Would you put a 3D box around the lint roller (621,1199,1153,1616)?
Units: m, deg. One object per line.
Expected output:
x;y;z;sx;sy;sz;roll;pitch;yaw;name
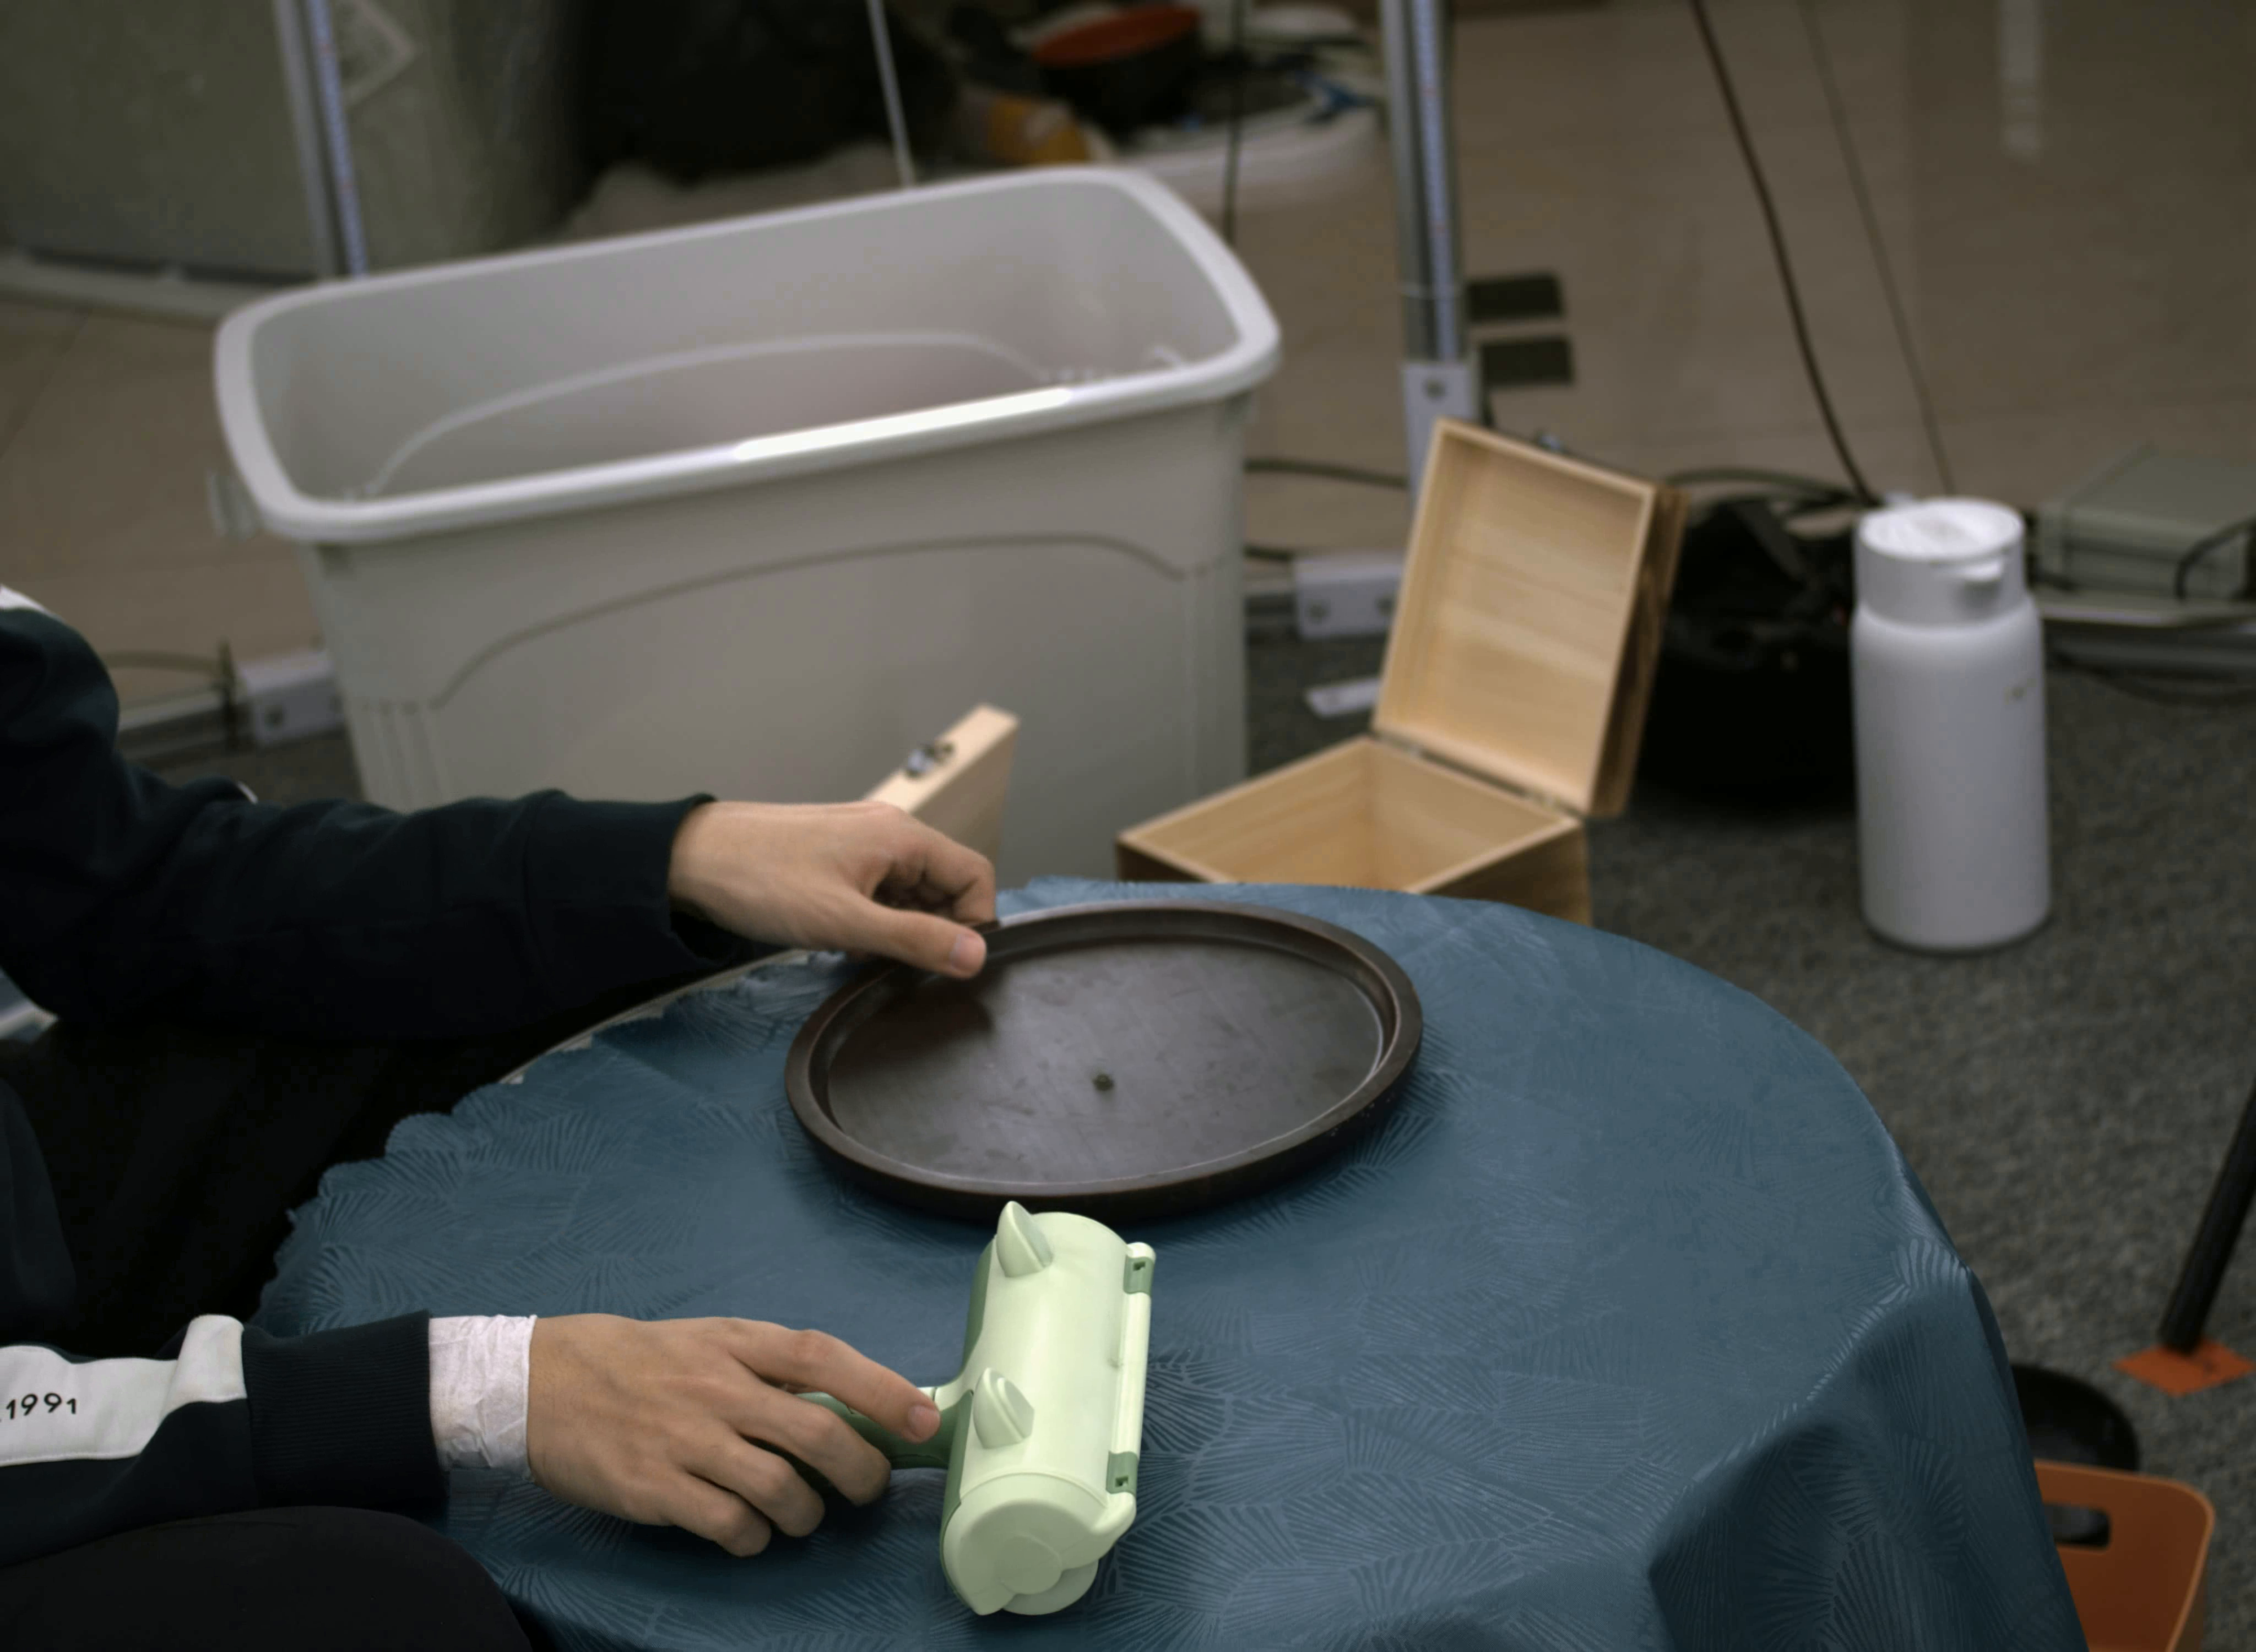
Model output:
-0.086;0.194;1.951;0.183;0.083;0.195;-1;26;4;lint roller

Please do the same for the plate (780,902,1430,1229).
-0.008;0.092;2.218;0.254;0.029;0.251;-5;26;2;plate
